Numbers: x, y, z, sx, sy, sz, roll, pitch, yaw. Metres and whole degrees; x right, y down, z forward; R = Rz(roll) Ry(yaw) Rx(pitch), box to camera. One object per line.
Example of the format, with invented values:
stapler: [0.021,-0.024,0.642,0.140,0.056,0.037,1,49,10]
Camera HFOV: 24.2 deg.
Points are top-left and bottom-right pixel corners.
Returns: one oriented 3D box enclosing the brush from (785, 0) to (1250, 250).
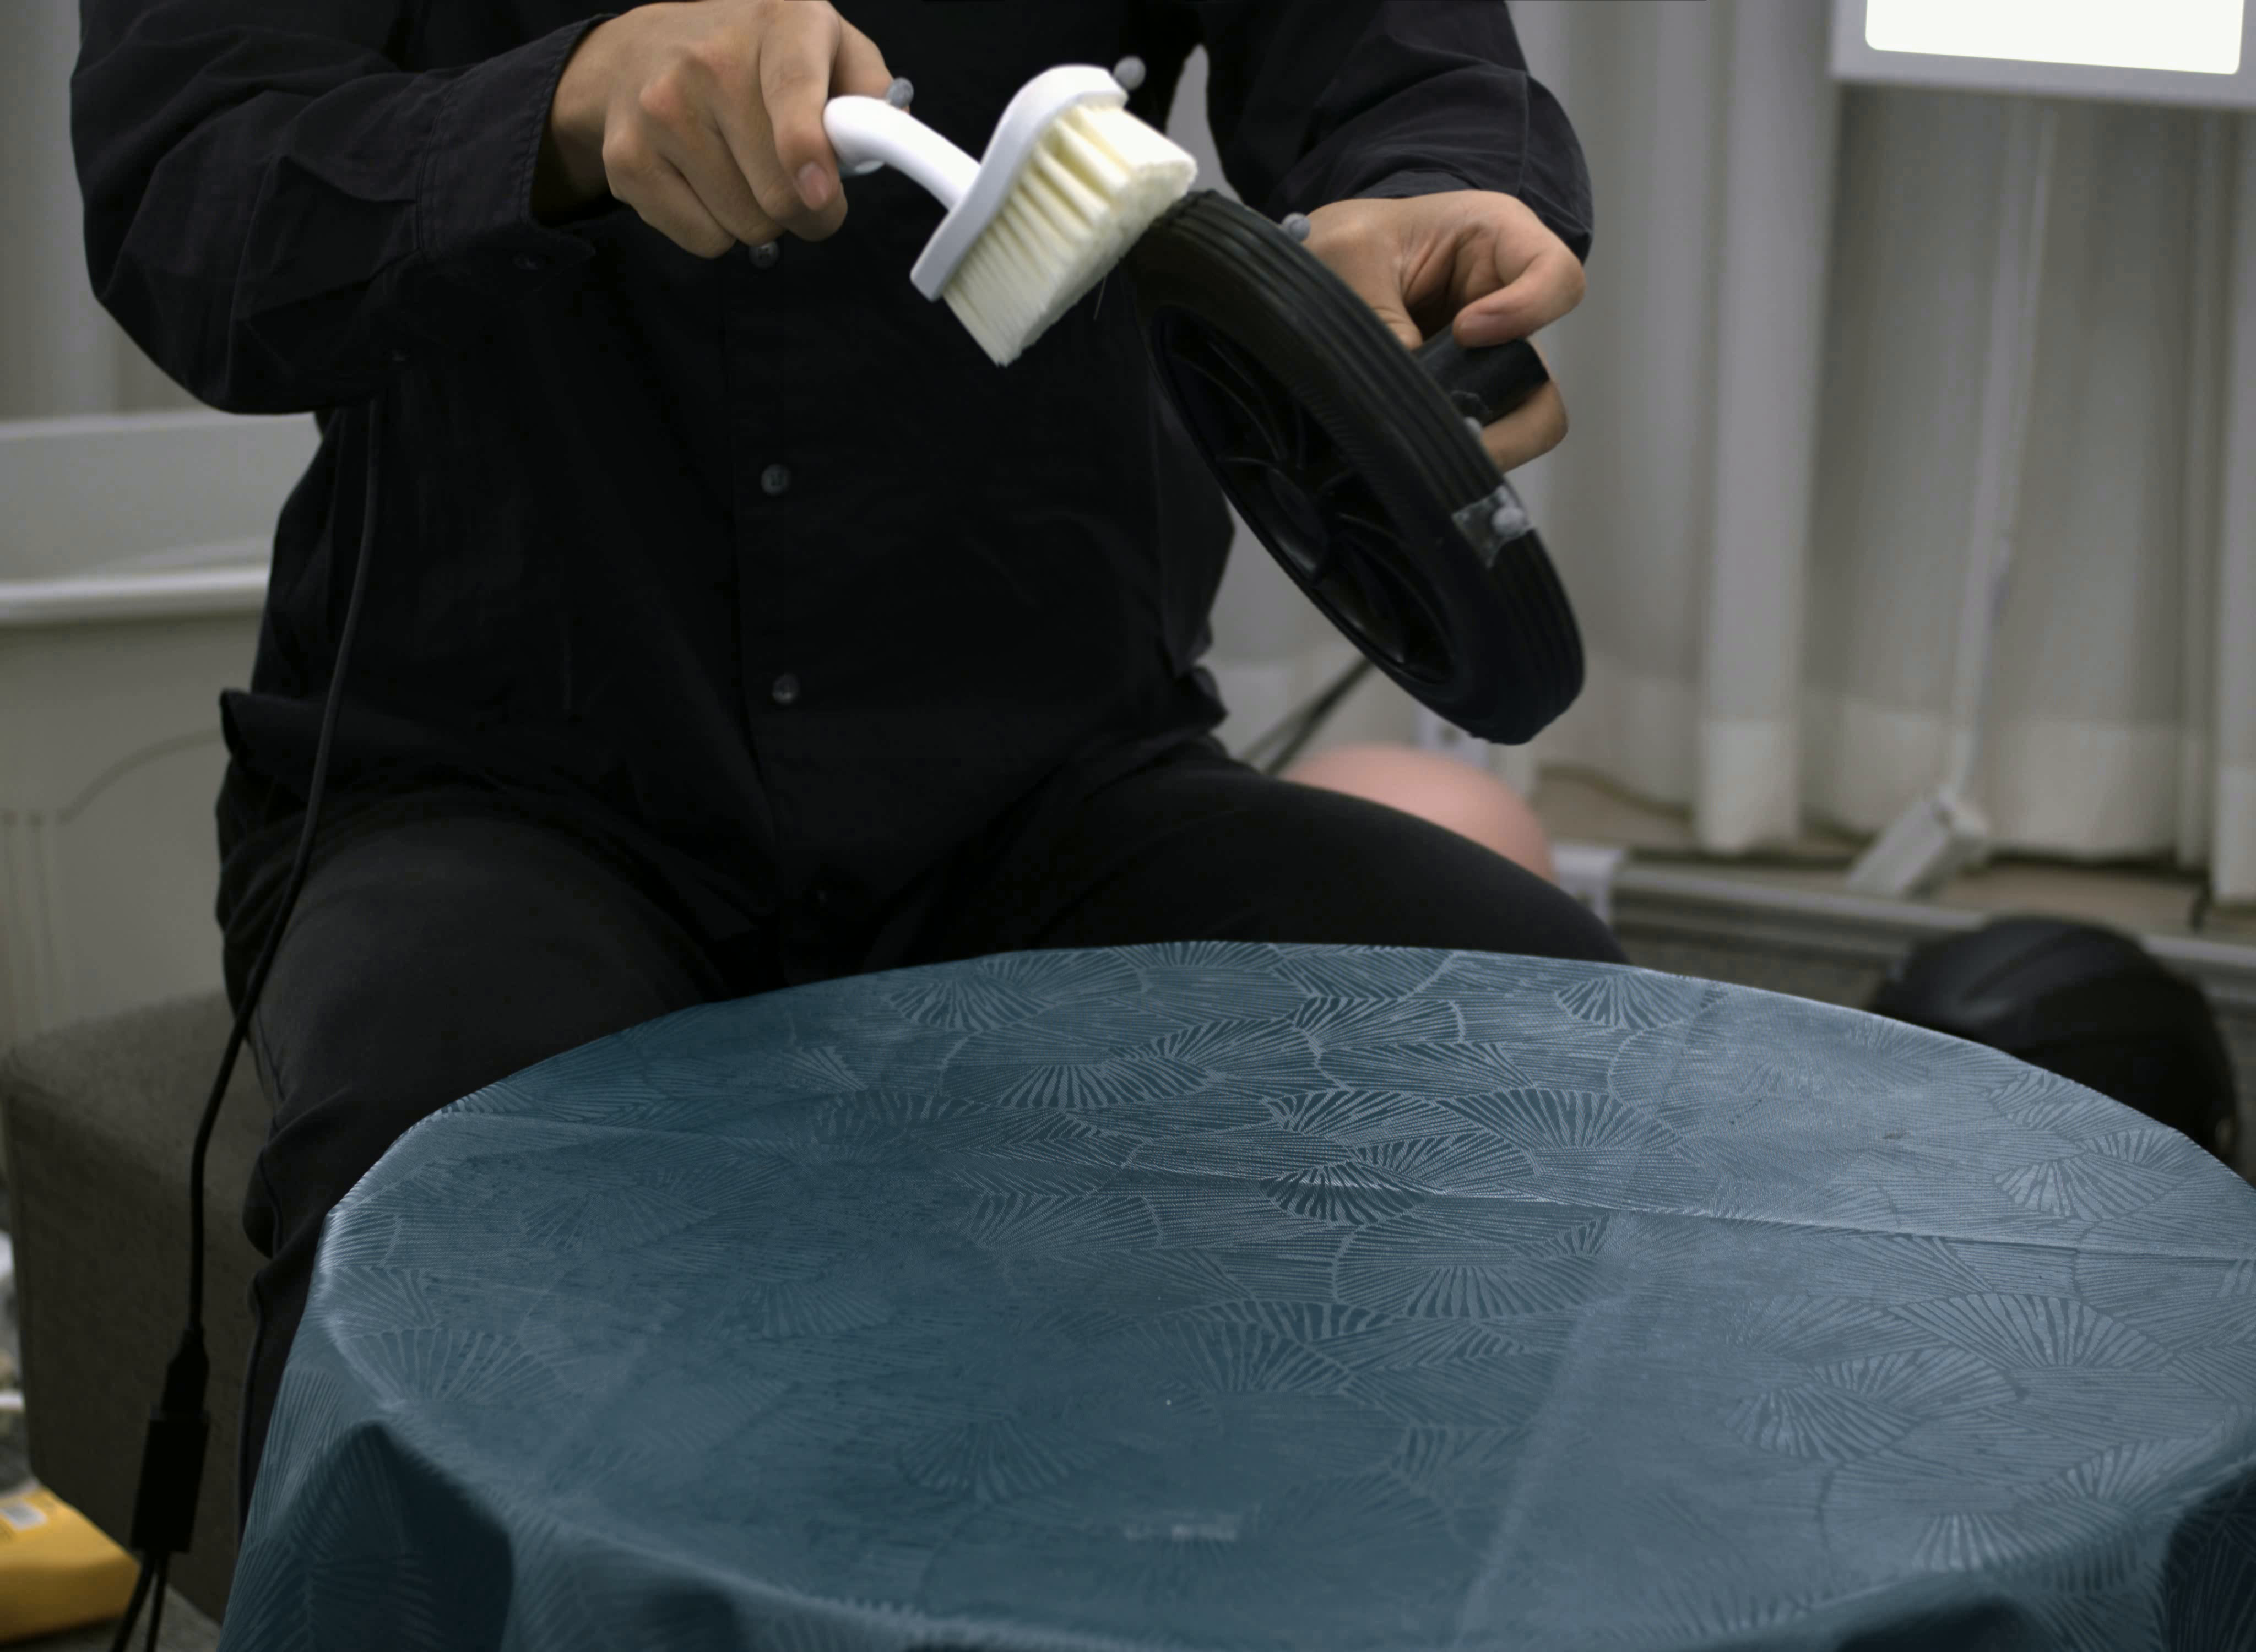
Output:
brush: [-0.028,-0.214,1.589,0.083,0.085,0.323,-8,5,-17]

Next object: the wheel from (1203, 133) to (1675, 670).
wheel: [0.107,-0.138,1.561,0.079,0.190,0.187,-41,56,-12]
